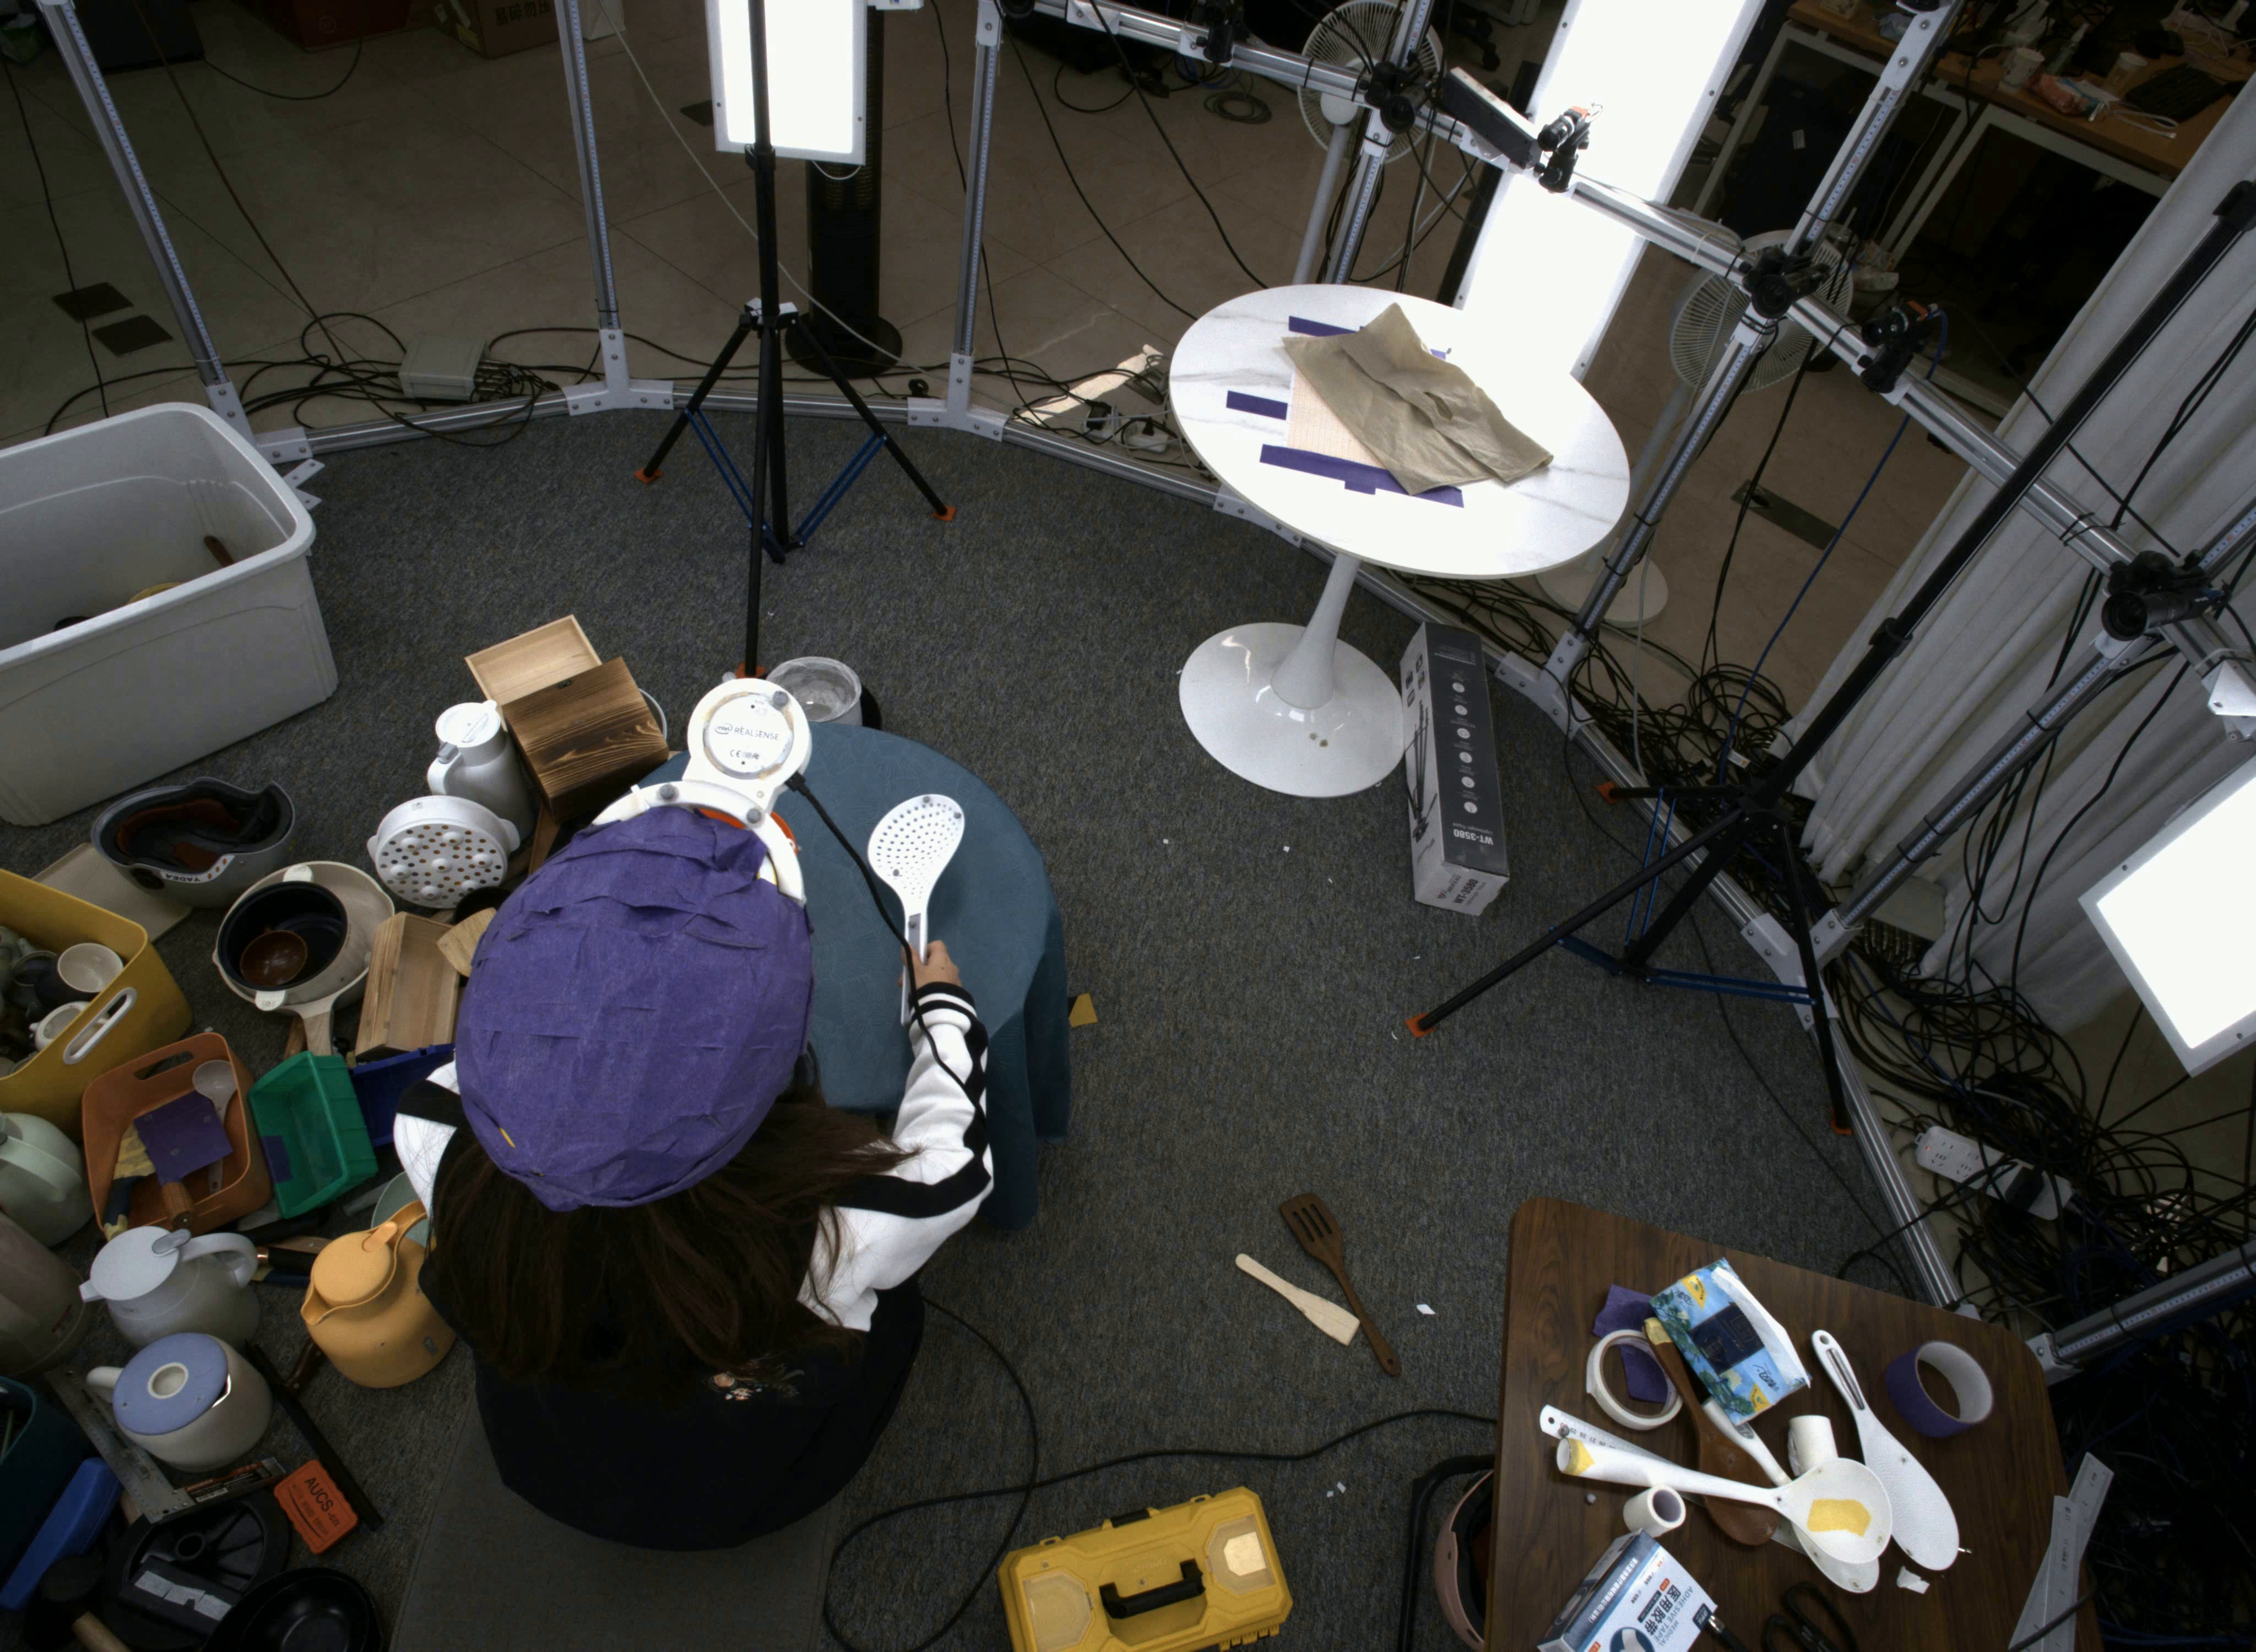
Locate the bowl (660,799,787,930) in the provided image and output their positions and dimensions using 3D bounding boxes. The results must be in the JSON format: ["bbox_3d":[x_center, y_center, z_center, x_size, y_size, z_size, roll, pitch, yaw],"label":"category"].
[{"bbox_3d":[-0.489,0.057,1.560,0.149,0.106,0.145,12,51,-13],"label":"bowl"}]

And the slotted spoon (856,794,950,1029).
[{"bbox_3d":[-0.277,0.098,1.617,0.134,0.047,0.341,-16,45,10],"label":"slotted spoon"}]
